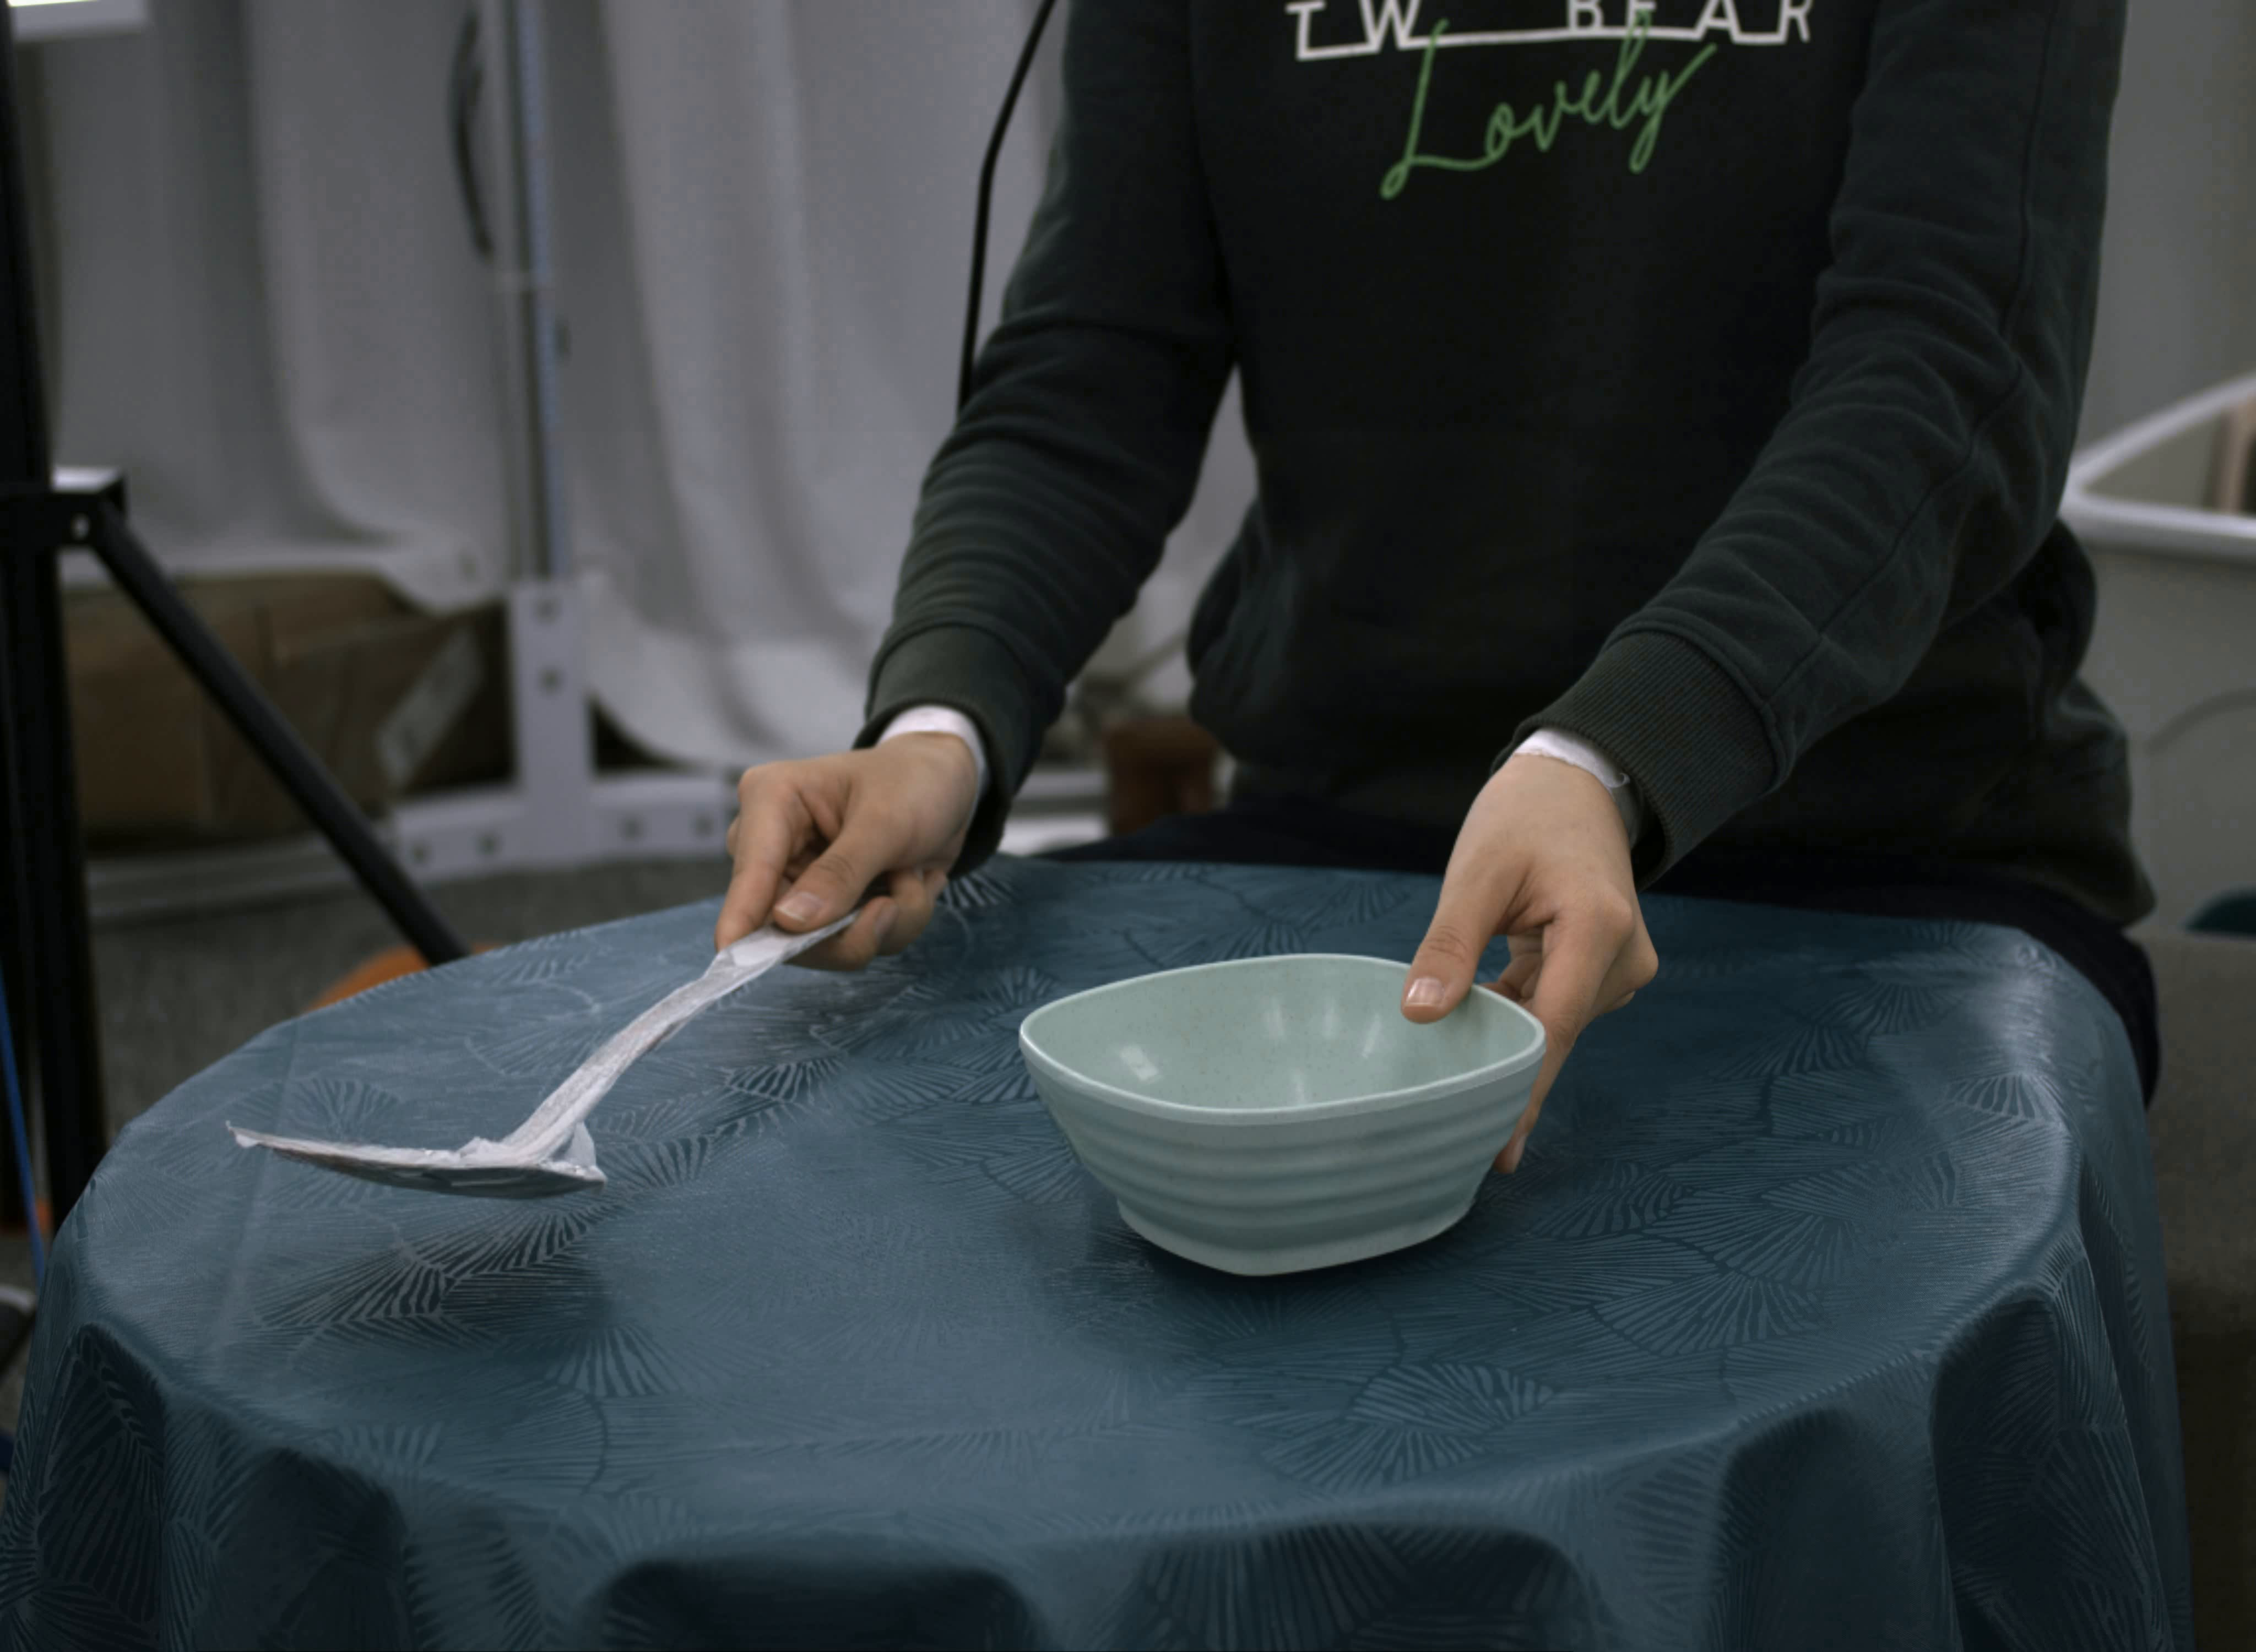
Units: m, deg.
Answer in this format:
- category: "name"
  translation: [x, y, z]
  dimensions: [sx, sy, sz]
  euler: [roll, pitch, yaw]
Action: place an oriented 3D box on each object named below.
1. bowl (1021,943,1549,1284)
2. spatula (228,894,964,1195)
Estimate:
- category: "bowl"
  translation: [0.045, 0.085, 1.507]
  dimensions: [0.150, 0.058, 0.152]
  euler: [-2, 18, -1]
- category: "spatula"
  translation: [-0.139, 0.056, 1.611]
  dimensions: [0.100, 0.045, 0.360]
  euler: [3, 18, 25]
